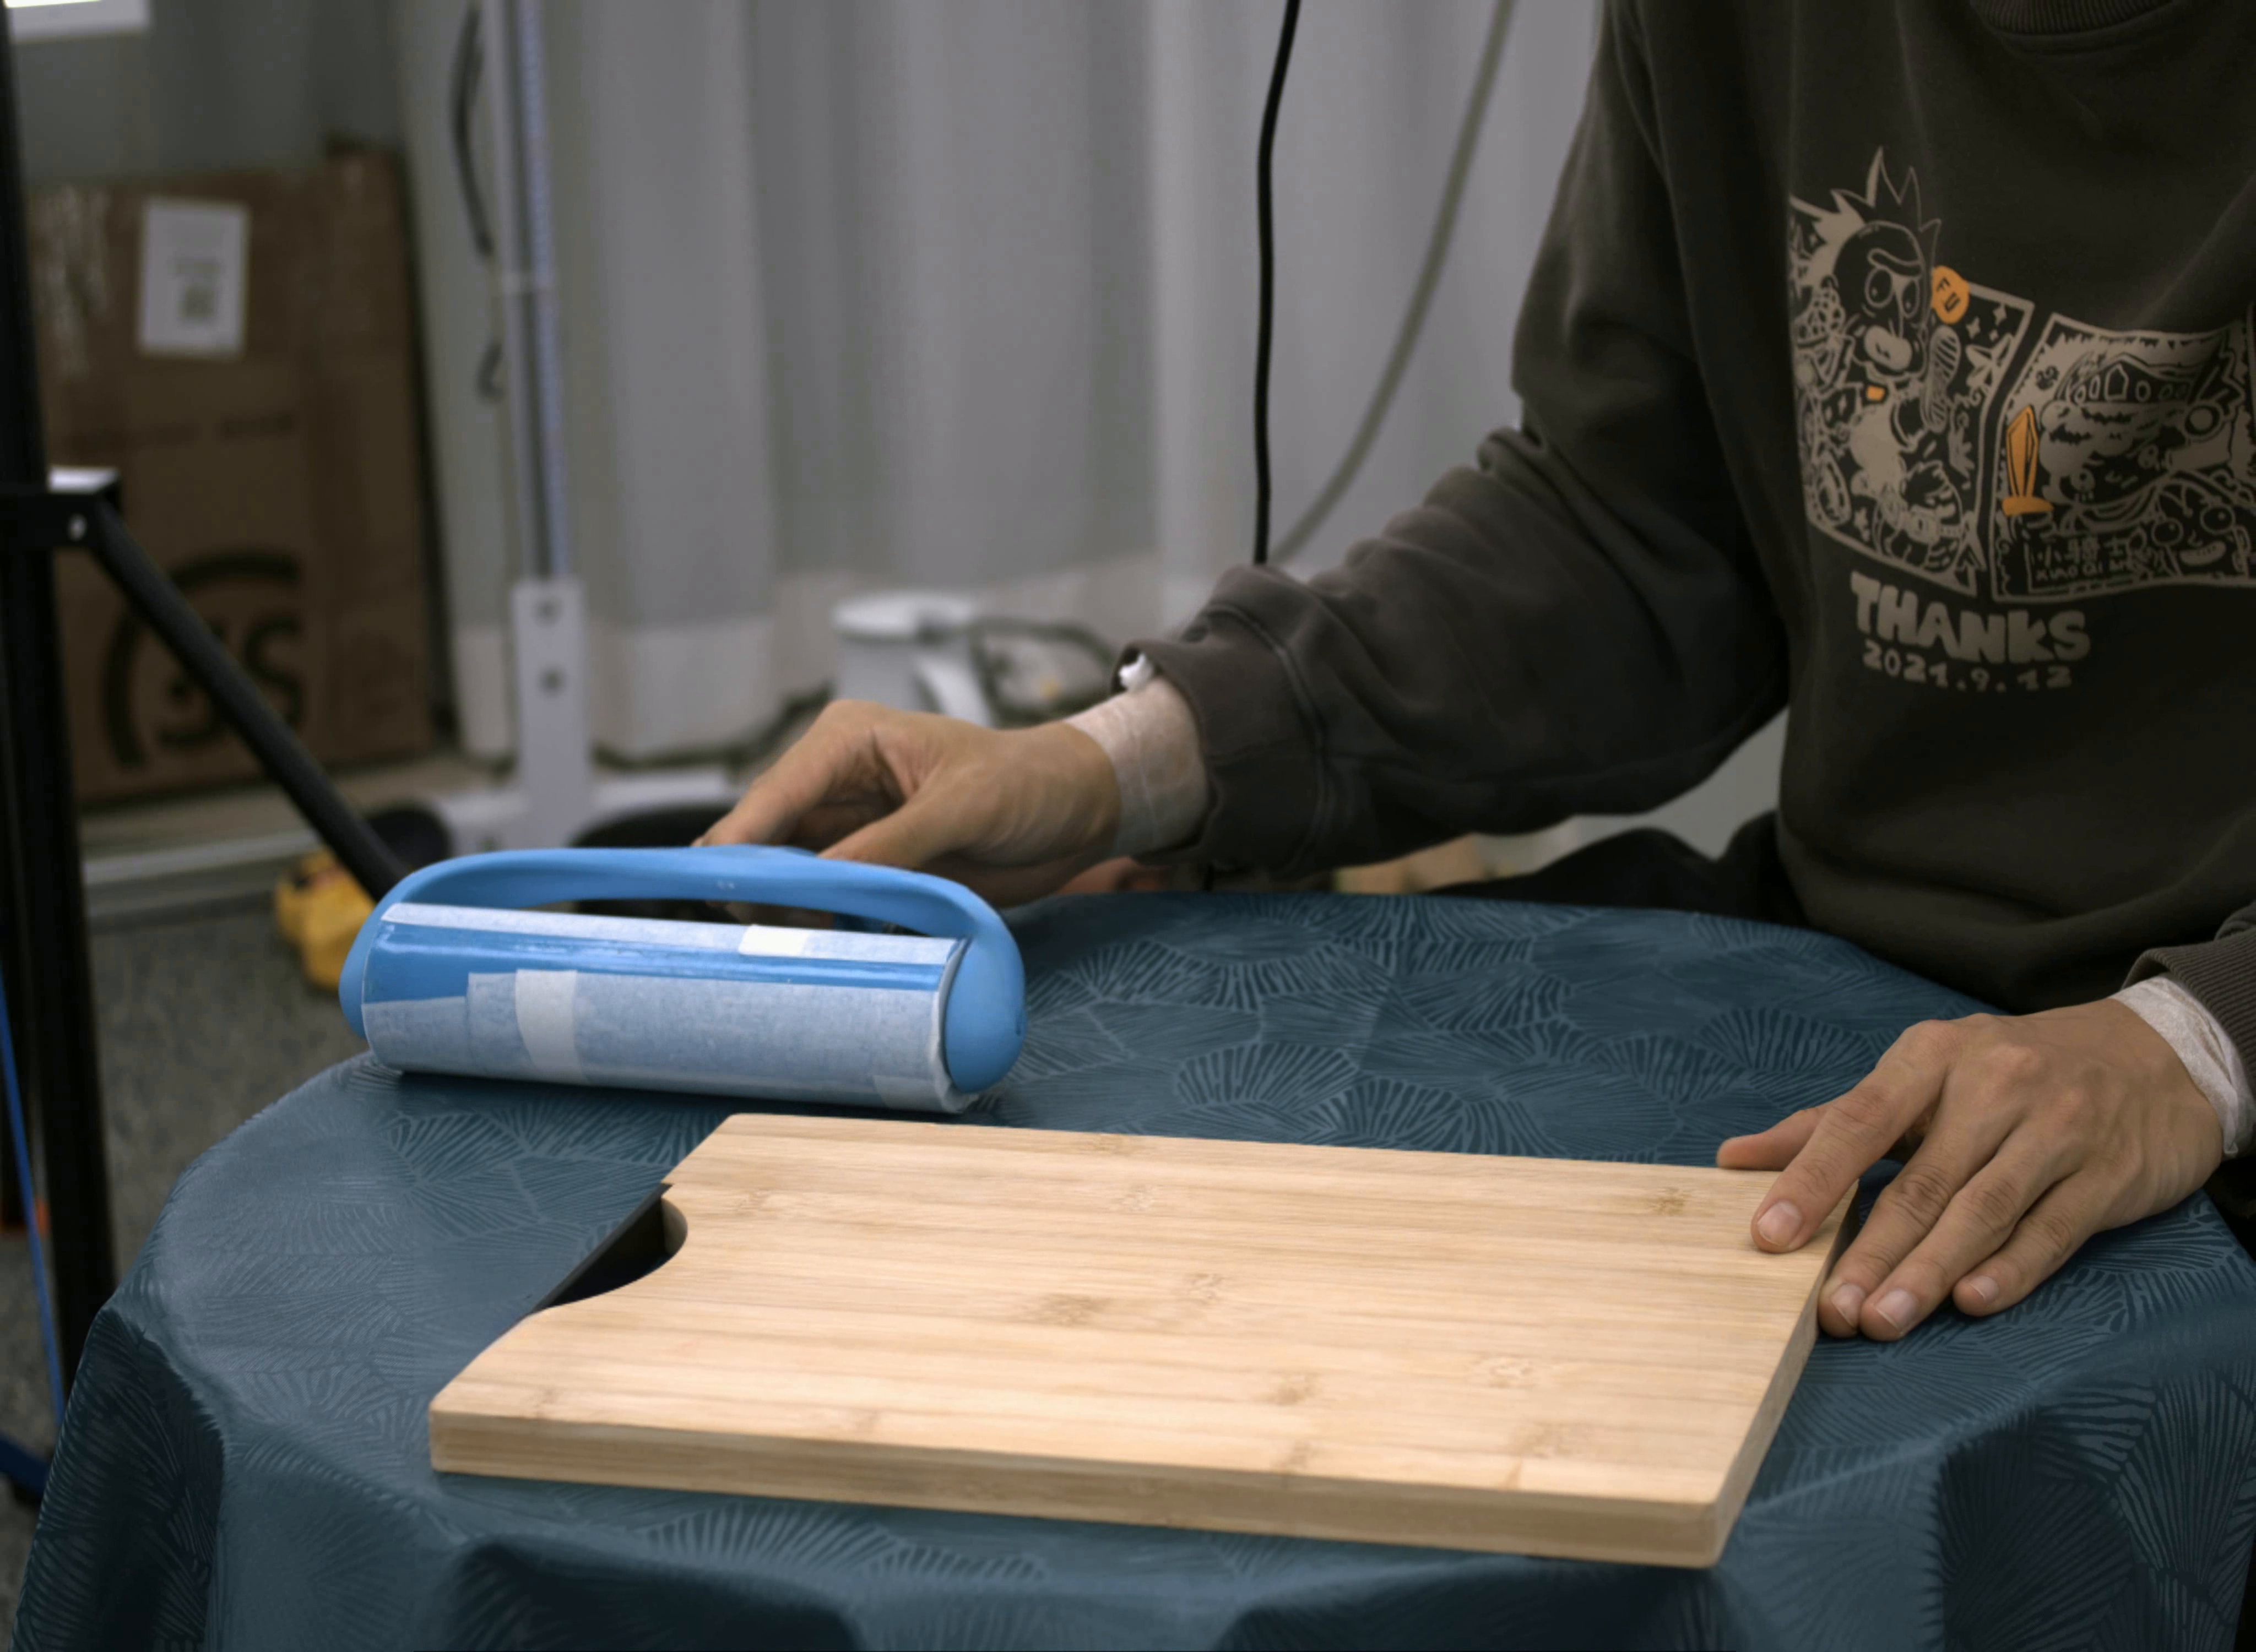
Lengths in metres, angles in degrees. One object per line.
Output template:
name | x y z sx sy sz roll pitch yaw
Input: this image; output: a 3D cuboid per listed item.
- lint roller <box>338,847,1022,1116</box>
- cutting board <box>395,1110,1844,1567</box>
lint roller | -0.126 0.037 1.724 0.231 0.068 0.178 2 19 18
cutting board | 0.006 0.134 1.441 0.352 0.023 0.248 2 16 16
